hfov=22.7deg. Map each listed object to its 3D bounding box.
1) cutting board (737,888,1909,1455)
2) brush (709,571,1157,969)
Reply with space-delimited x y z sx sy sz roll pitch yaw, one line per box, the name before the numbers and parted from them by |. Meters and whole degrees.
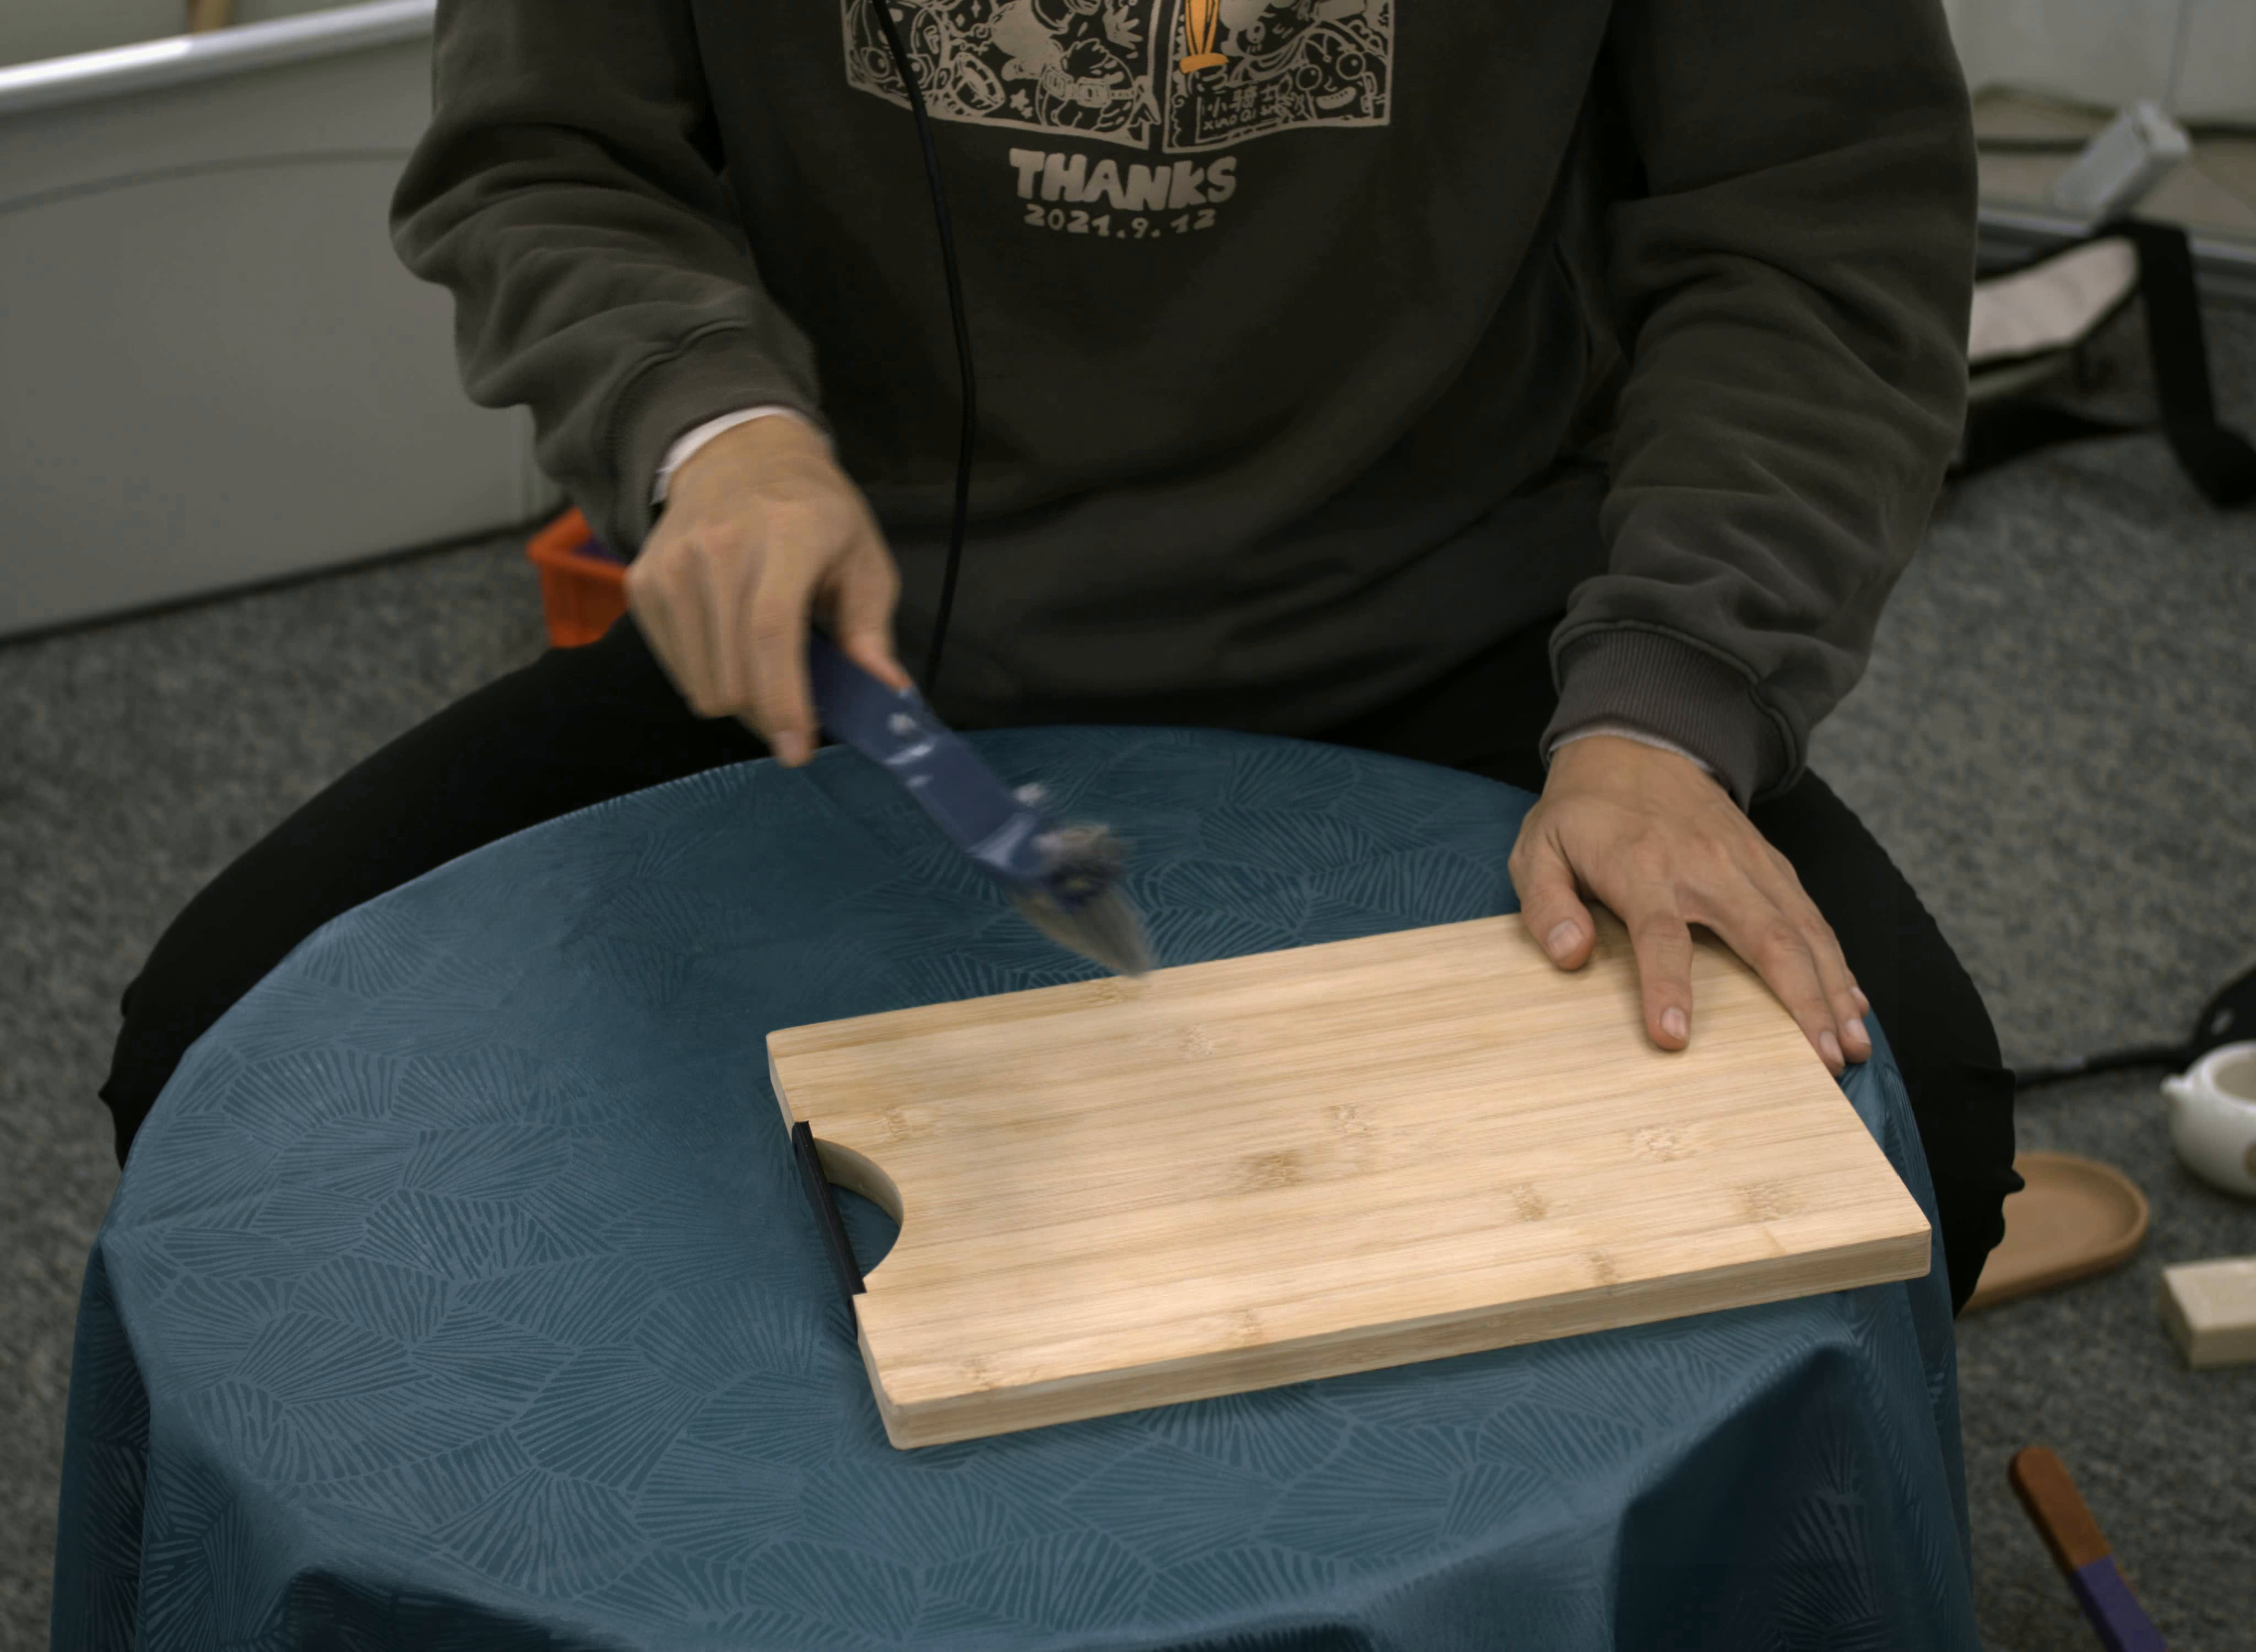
cutting board | 0.060 0.109 1.861 0.348 0.023 0.253 -9 28 -11
brush | -0.069 -0.033 1.871 0.034 0.094 0.275 -38 46 -12
